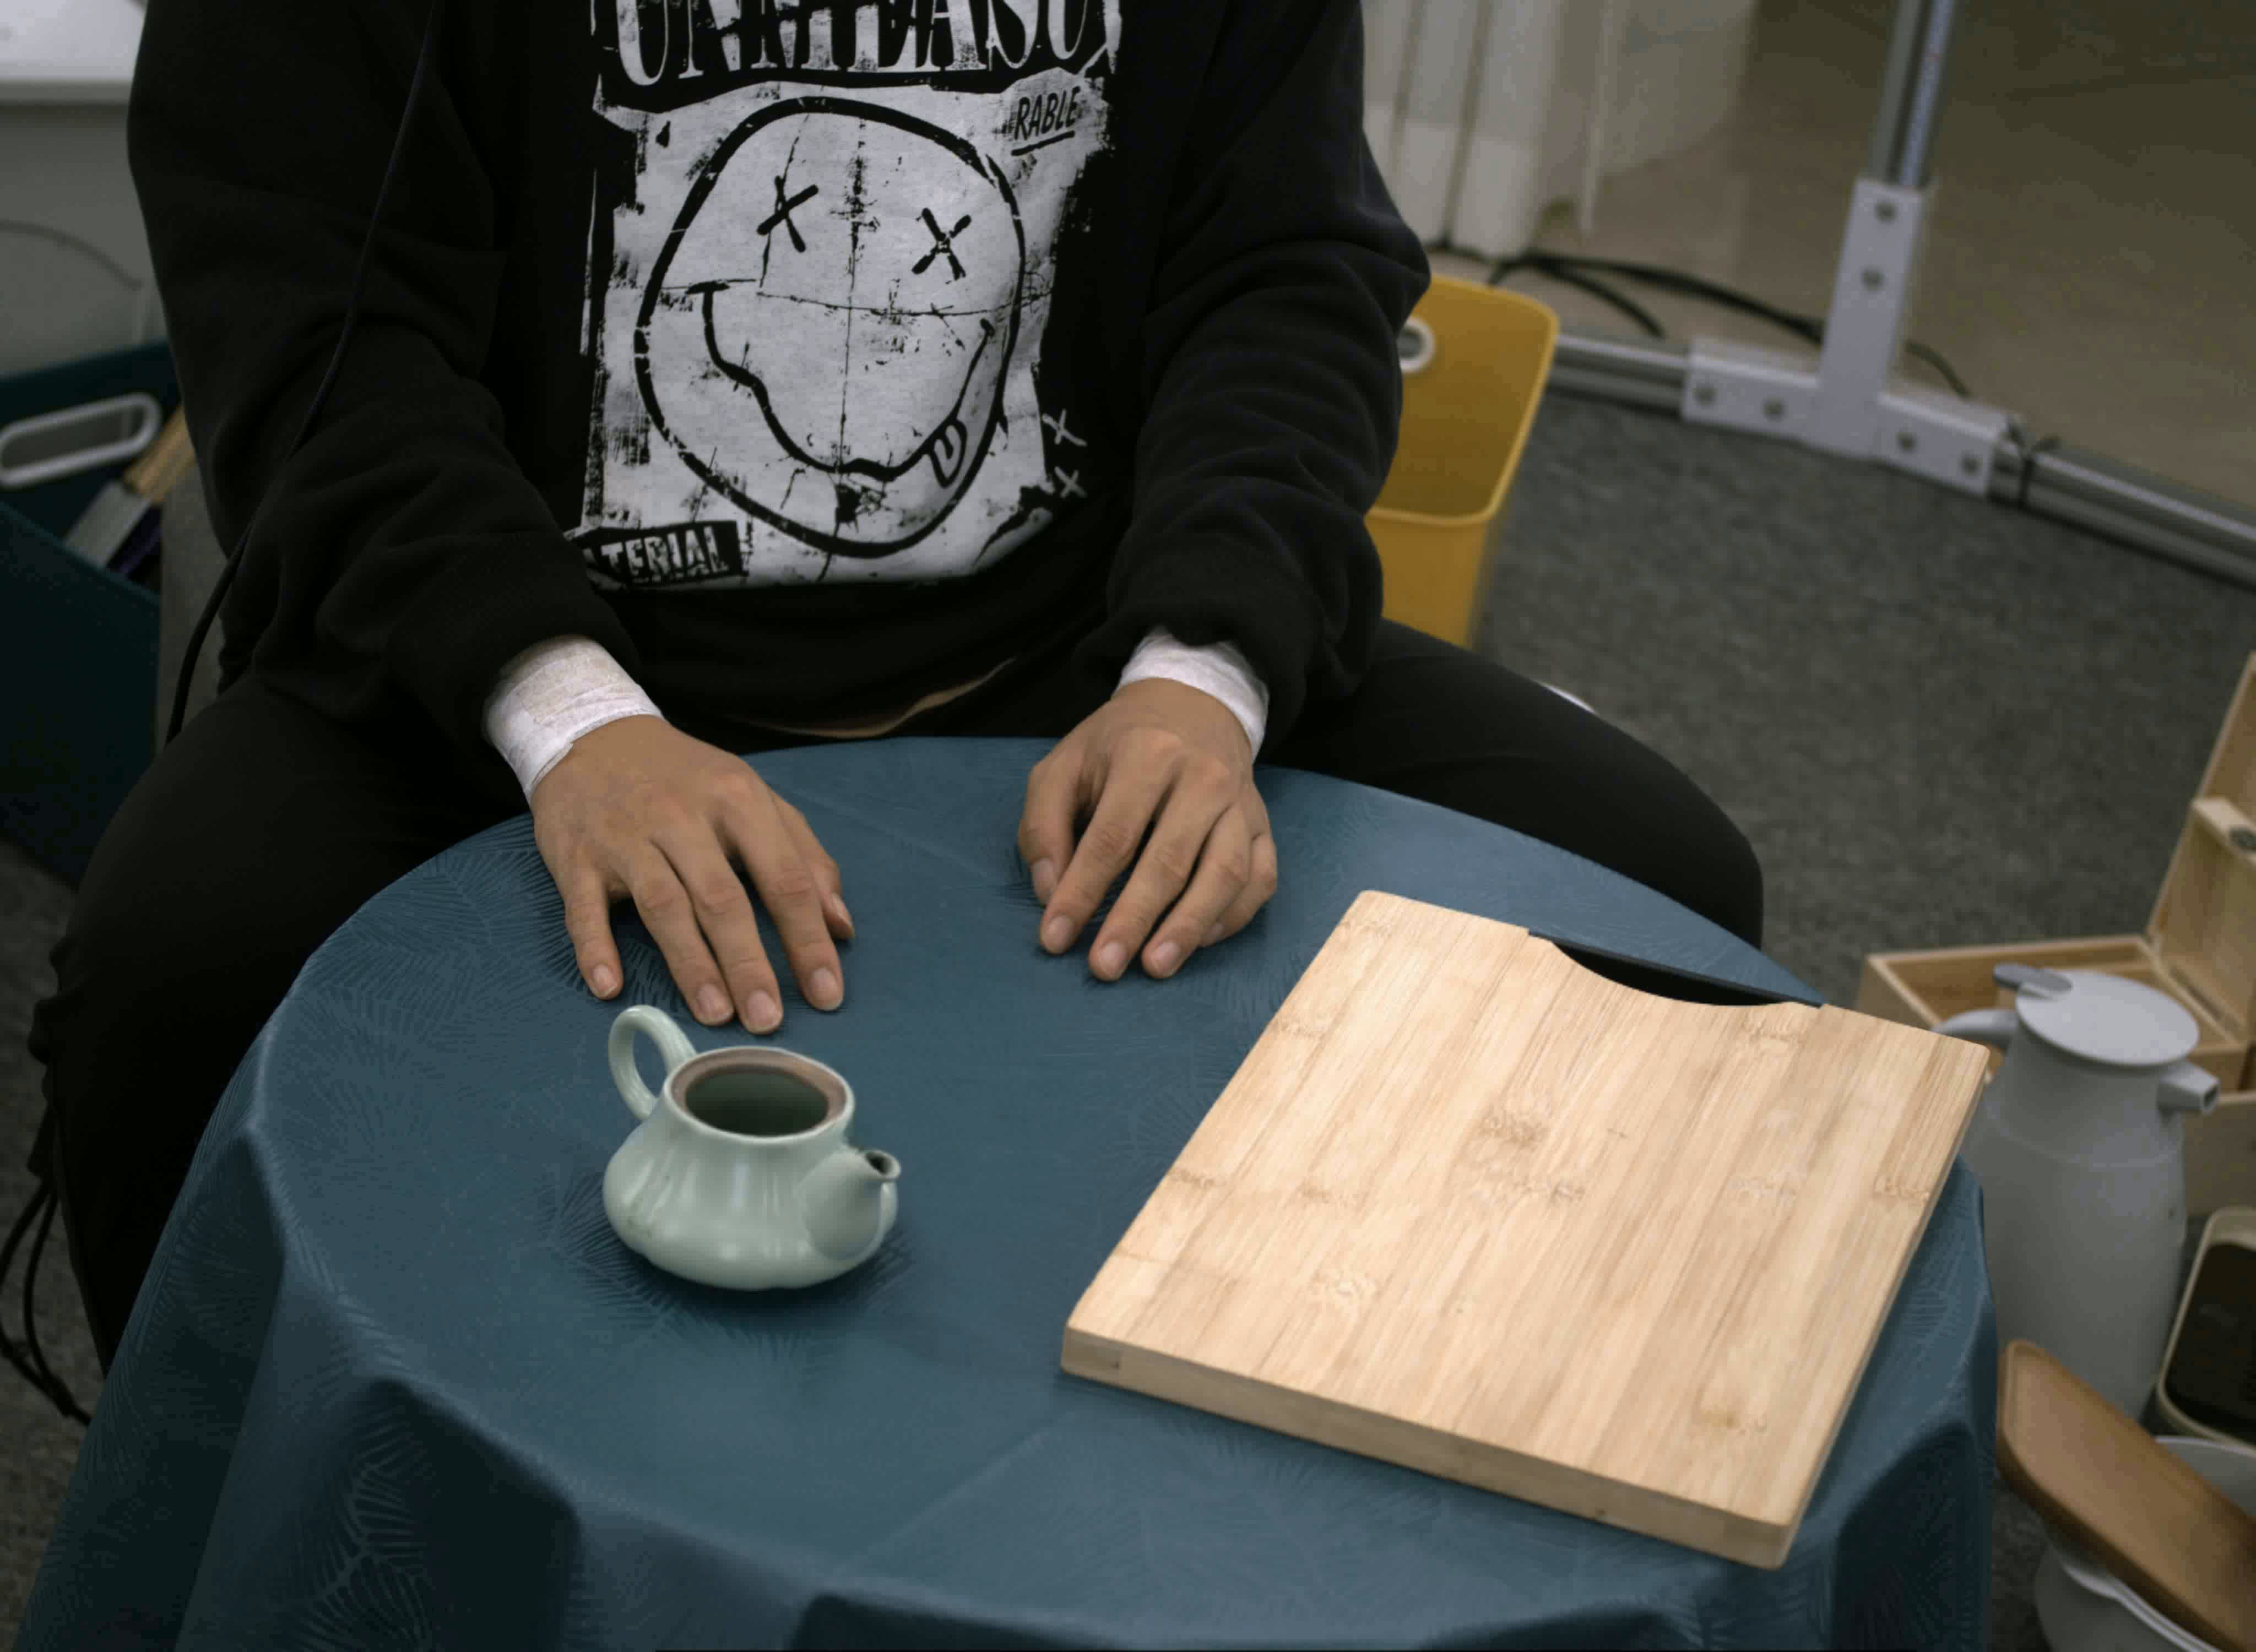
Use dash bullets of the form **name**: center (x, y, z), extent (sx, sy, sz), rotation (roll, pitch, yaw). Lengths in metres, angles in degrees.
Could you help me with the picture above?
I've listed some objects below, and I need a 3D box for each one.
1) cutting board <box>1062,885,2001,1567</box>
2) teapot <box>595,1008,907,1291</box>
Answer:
- **cutting board**: center (0.147, 0.126, 1.816), extent (0.251, 0.023, 0.349), rotation (14, 28, 13)
- **teapot**: center (-0.126, 0.108, 1.742), extent (0.138, 0.061, 0.096), rotation (28, 35, 35)
